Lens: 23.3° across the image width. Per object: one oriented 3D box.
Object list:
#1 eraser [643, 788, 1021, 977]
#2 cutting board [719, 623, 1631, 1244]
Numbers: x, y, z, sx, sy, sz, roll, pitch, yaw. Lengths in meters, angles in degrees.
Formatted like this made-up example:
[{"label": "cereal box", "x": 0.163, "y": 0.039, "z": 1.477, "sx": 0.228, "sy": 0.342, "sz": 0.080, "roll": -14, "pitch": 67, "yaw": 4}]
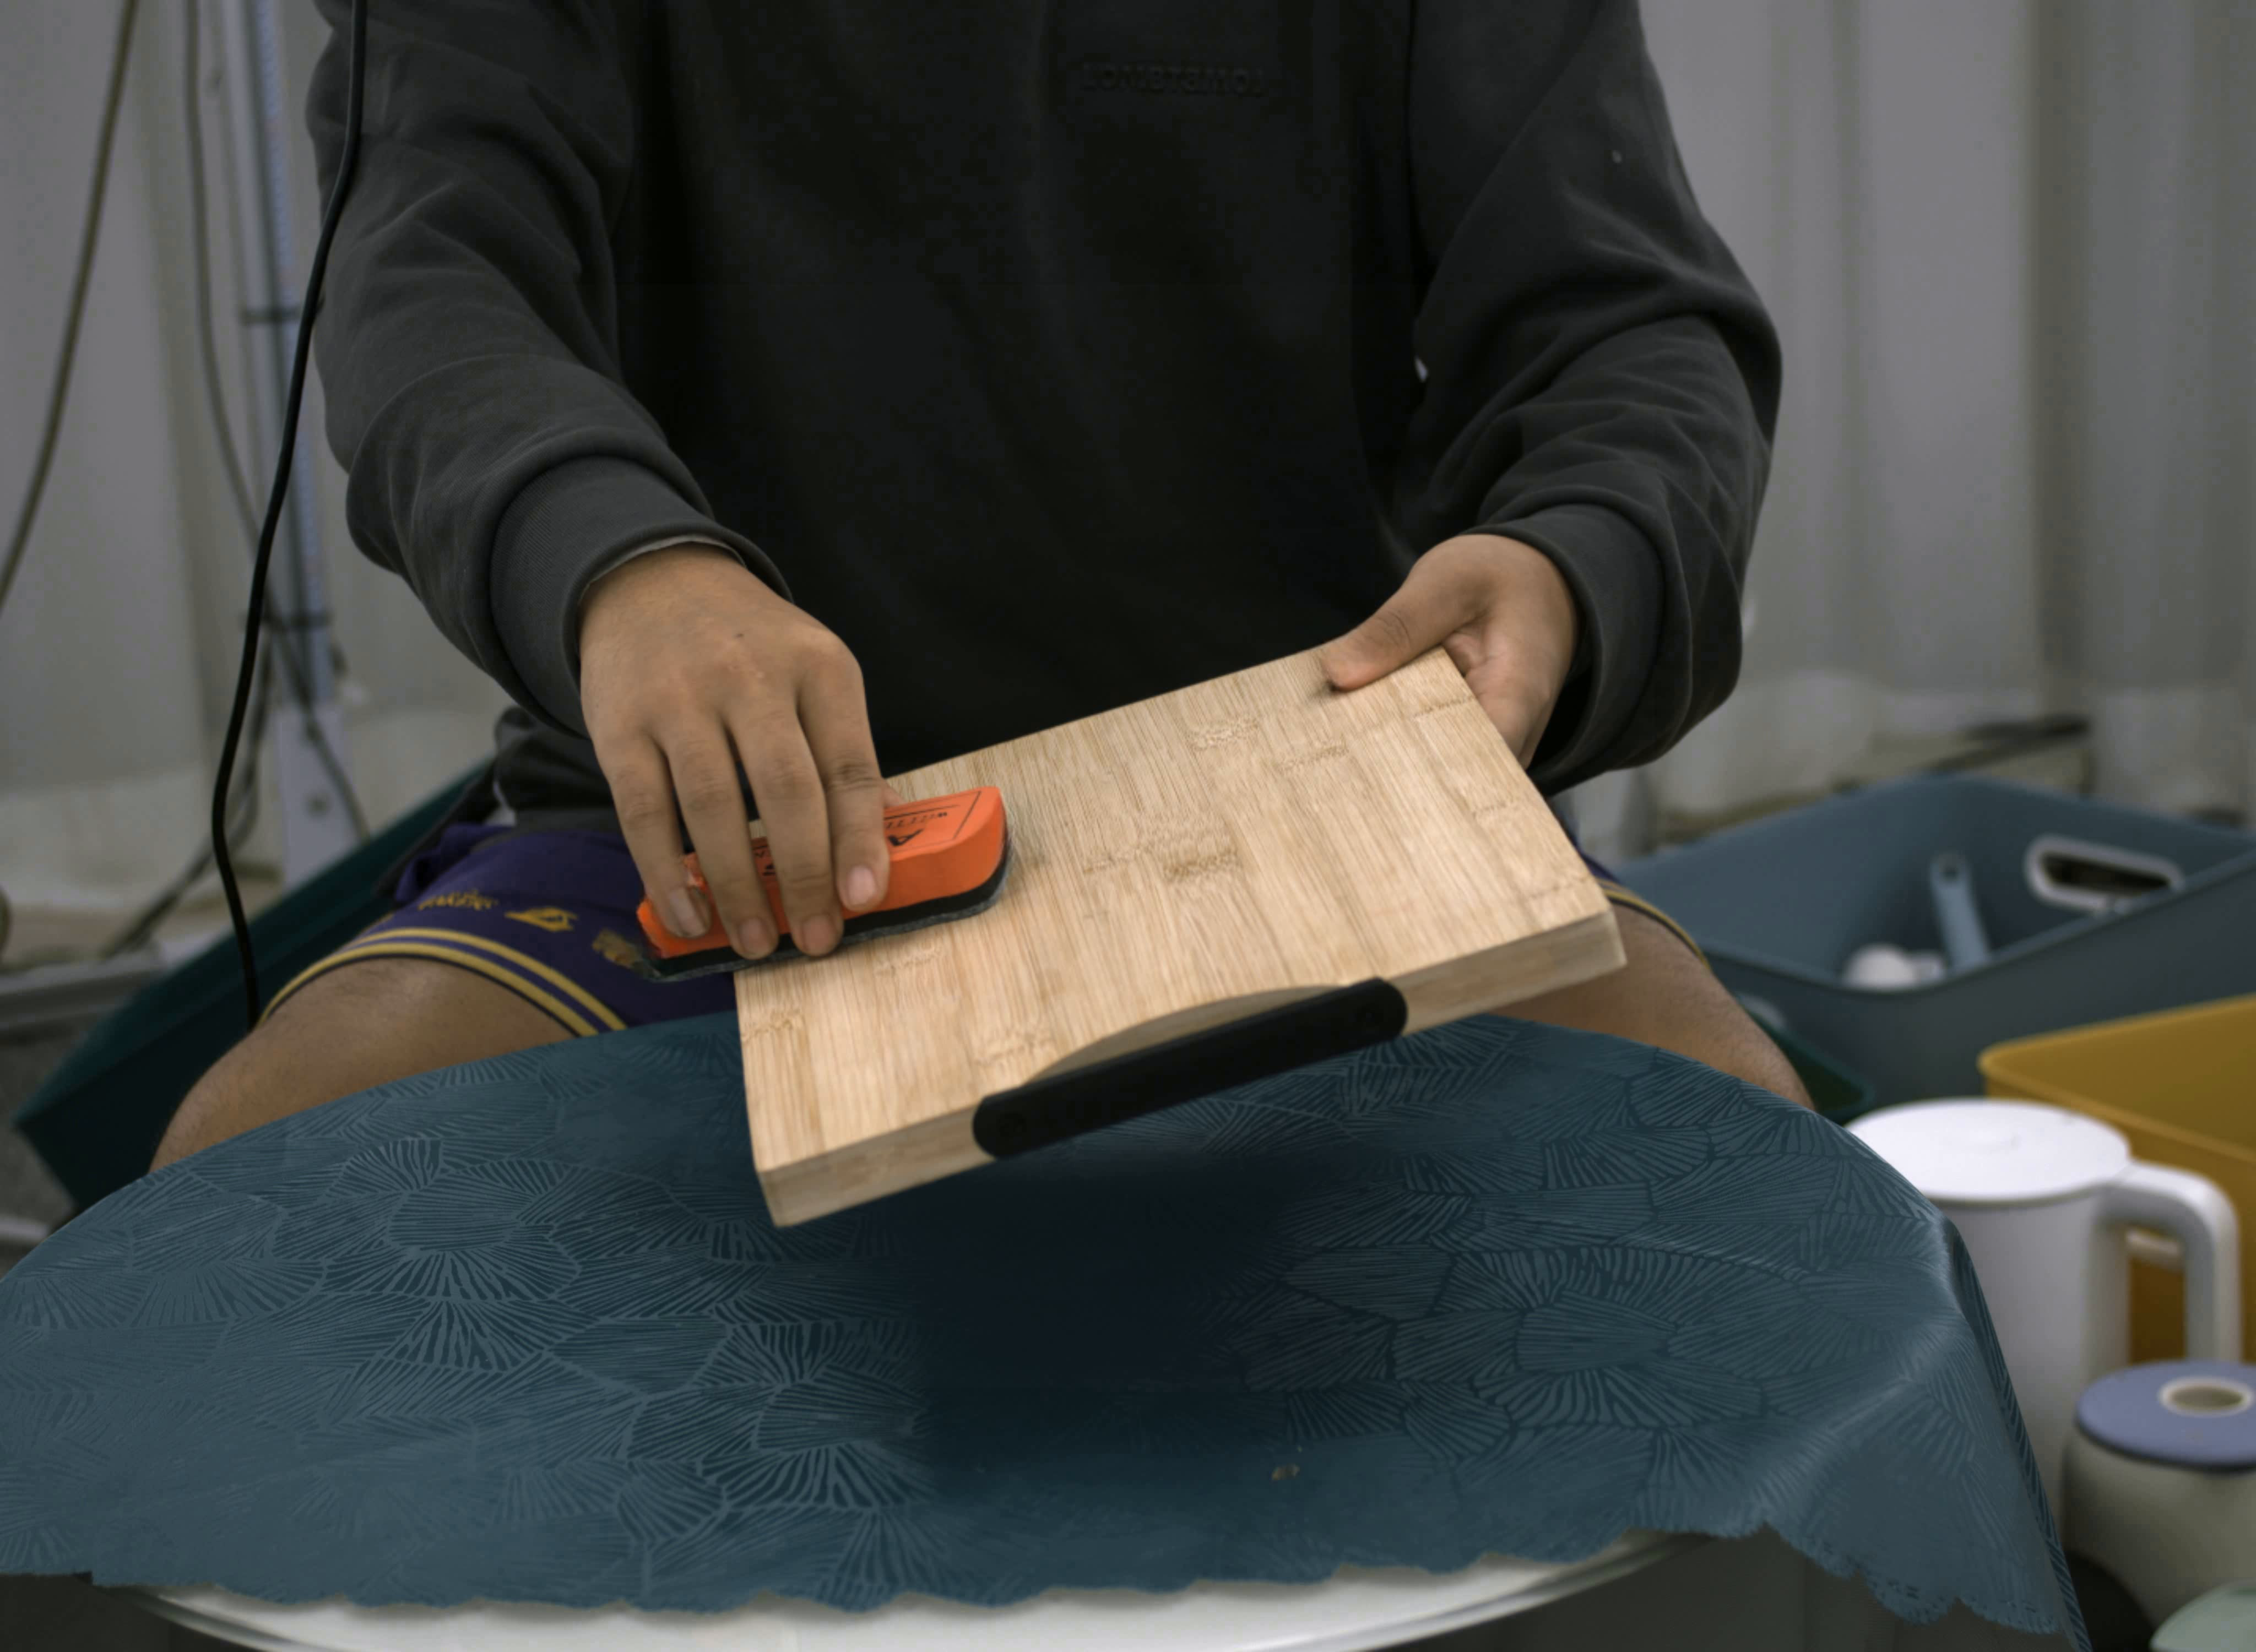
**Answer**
[{"label": "eraser", "x": -0.088, "y": 0.017, "z": 1.642, "sx": 0.108, "sy": 0.023, "sz": 0.059, "roll": -12, "pitch": 16, "yaw": 14}, {"label": "cutting board", "x": 0.001, "y": 0.022, "z": 1.610, "sx": 0.250, "sy": 0.023, "sz": 0.351, "roll": -18, "pitch": 16, "yaw": -2}]
